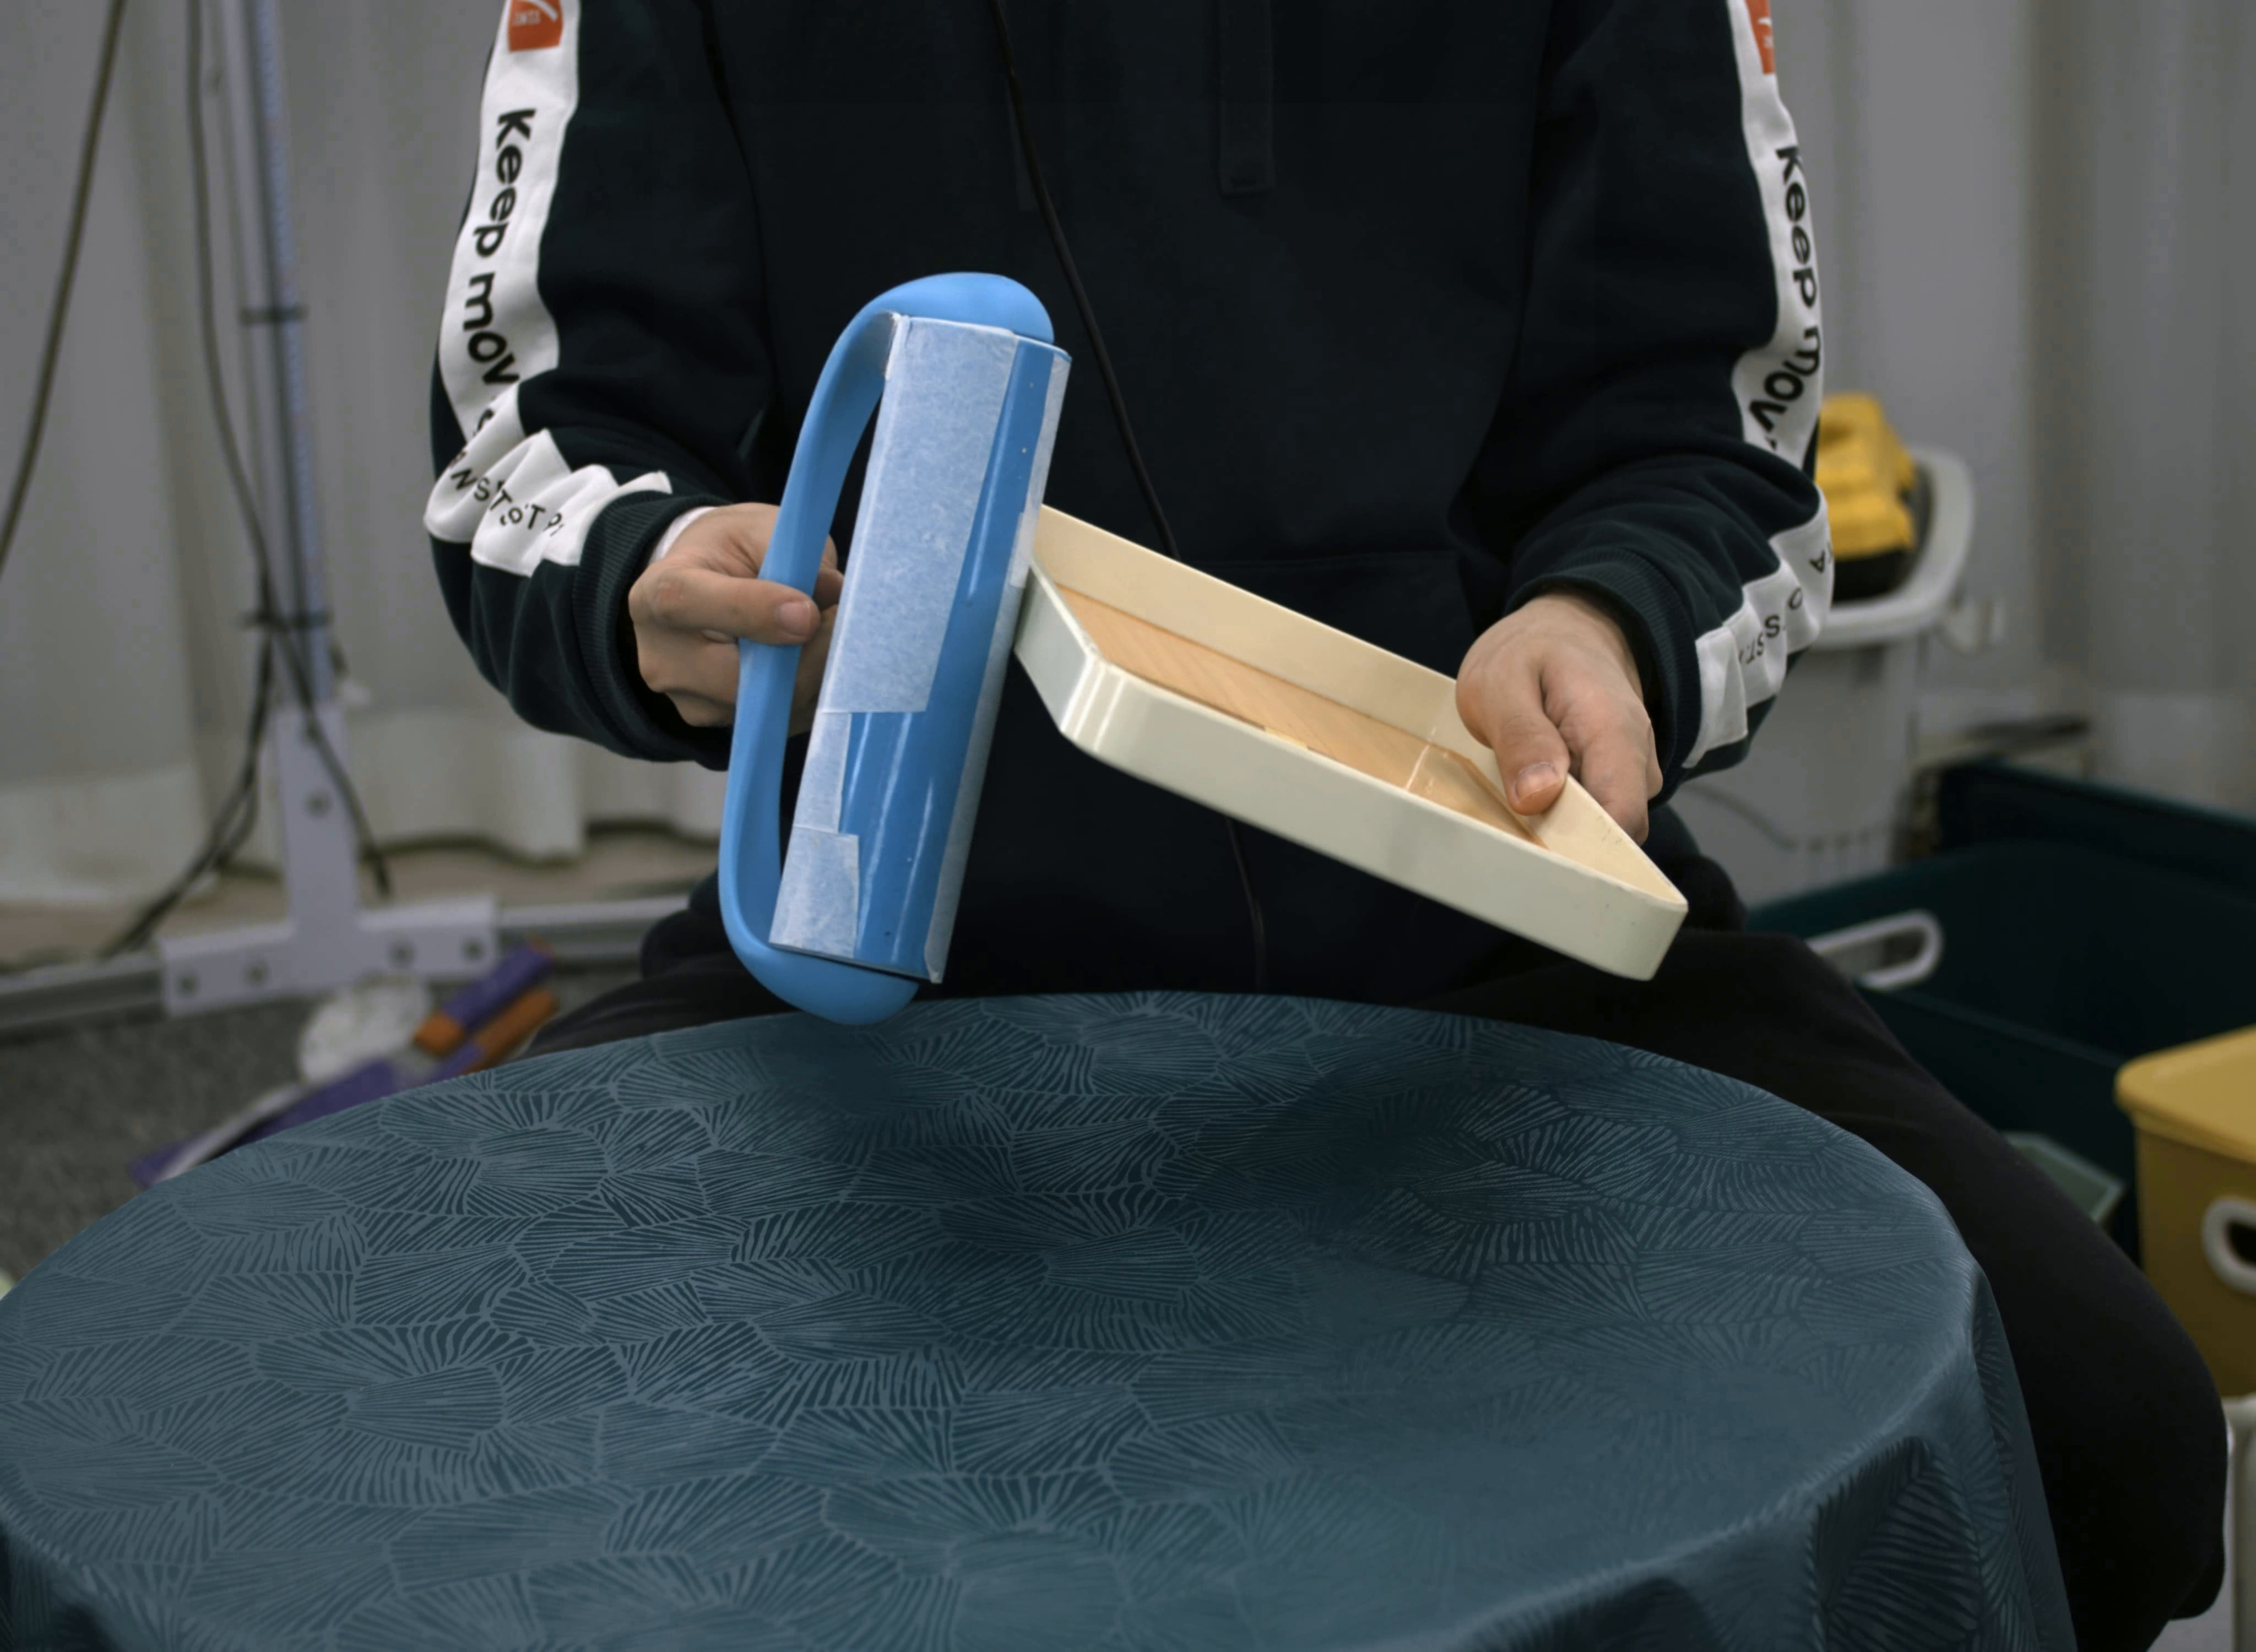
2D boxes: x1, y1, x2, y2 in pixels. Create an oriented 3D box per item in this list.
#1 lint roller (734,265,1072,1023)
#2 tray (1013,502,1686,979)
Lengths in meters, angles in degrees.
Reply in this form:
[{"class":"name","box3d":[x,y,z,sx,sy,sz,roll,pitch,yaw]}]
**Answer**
[{"class":"lint roller","box3d":[-0.086,-0.054,1.687,0.067,0.230,0.180,11,-6,-25]},{"class":"tray","box3d":[0.053,-0.032,1.671,0.190,0.027,0.302,23,9,-11]}]
